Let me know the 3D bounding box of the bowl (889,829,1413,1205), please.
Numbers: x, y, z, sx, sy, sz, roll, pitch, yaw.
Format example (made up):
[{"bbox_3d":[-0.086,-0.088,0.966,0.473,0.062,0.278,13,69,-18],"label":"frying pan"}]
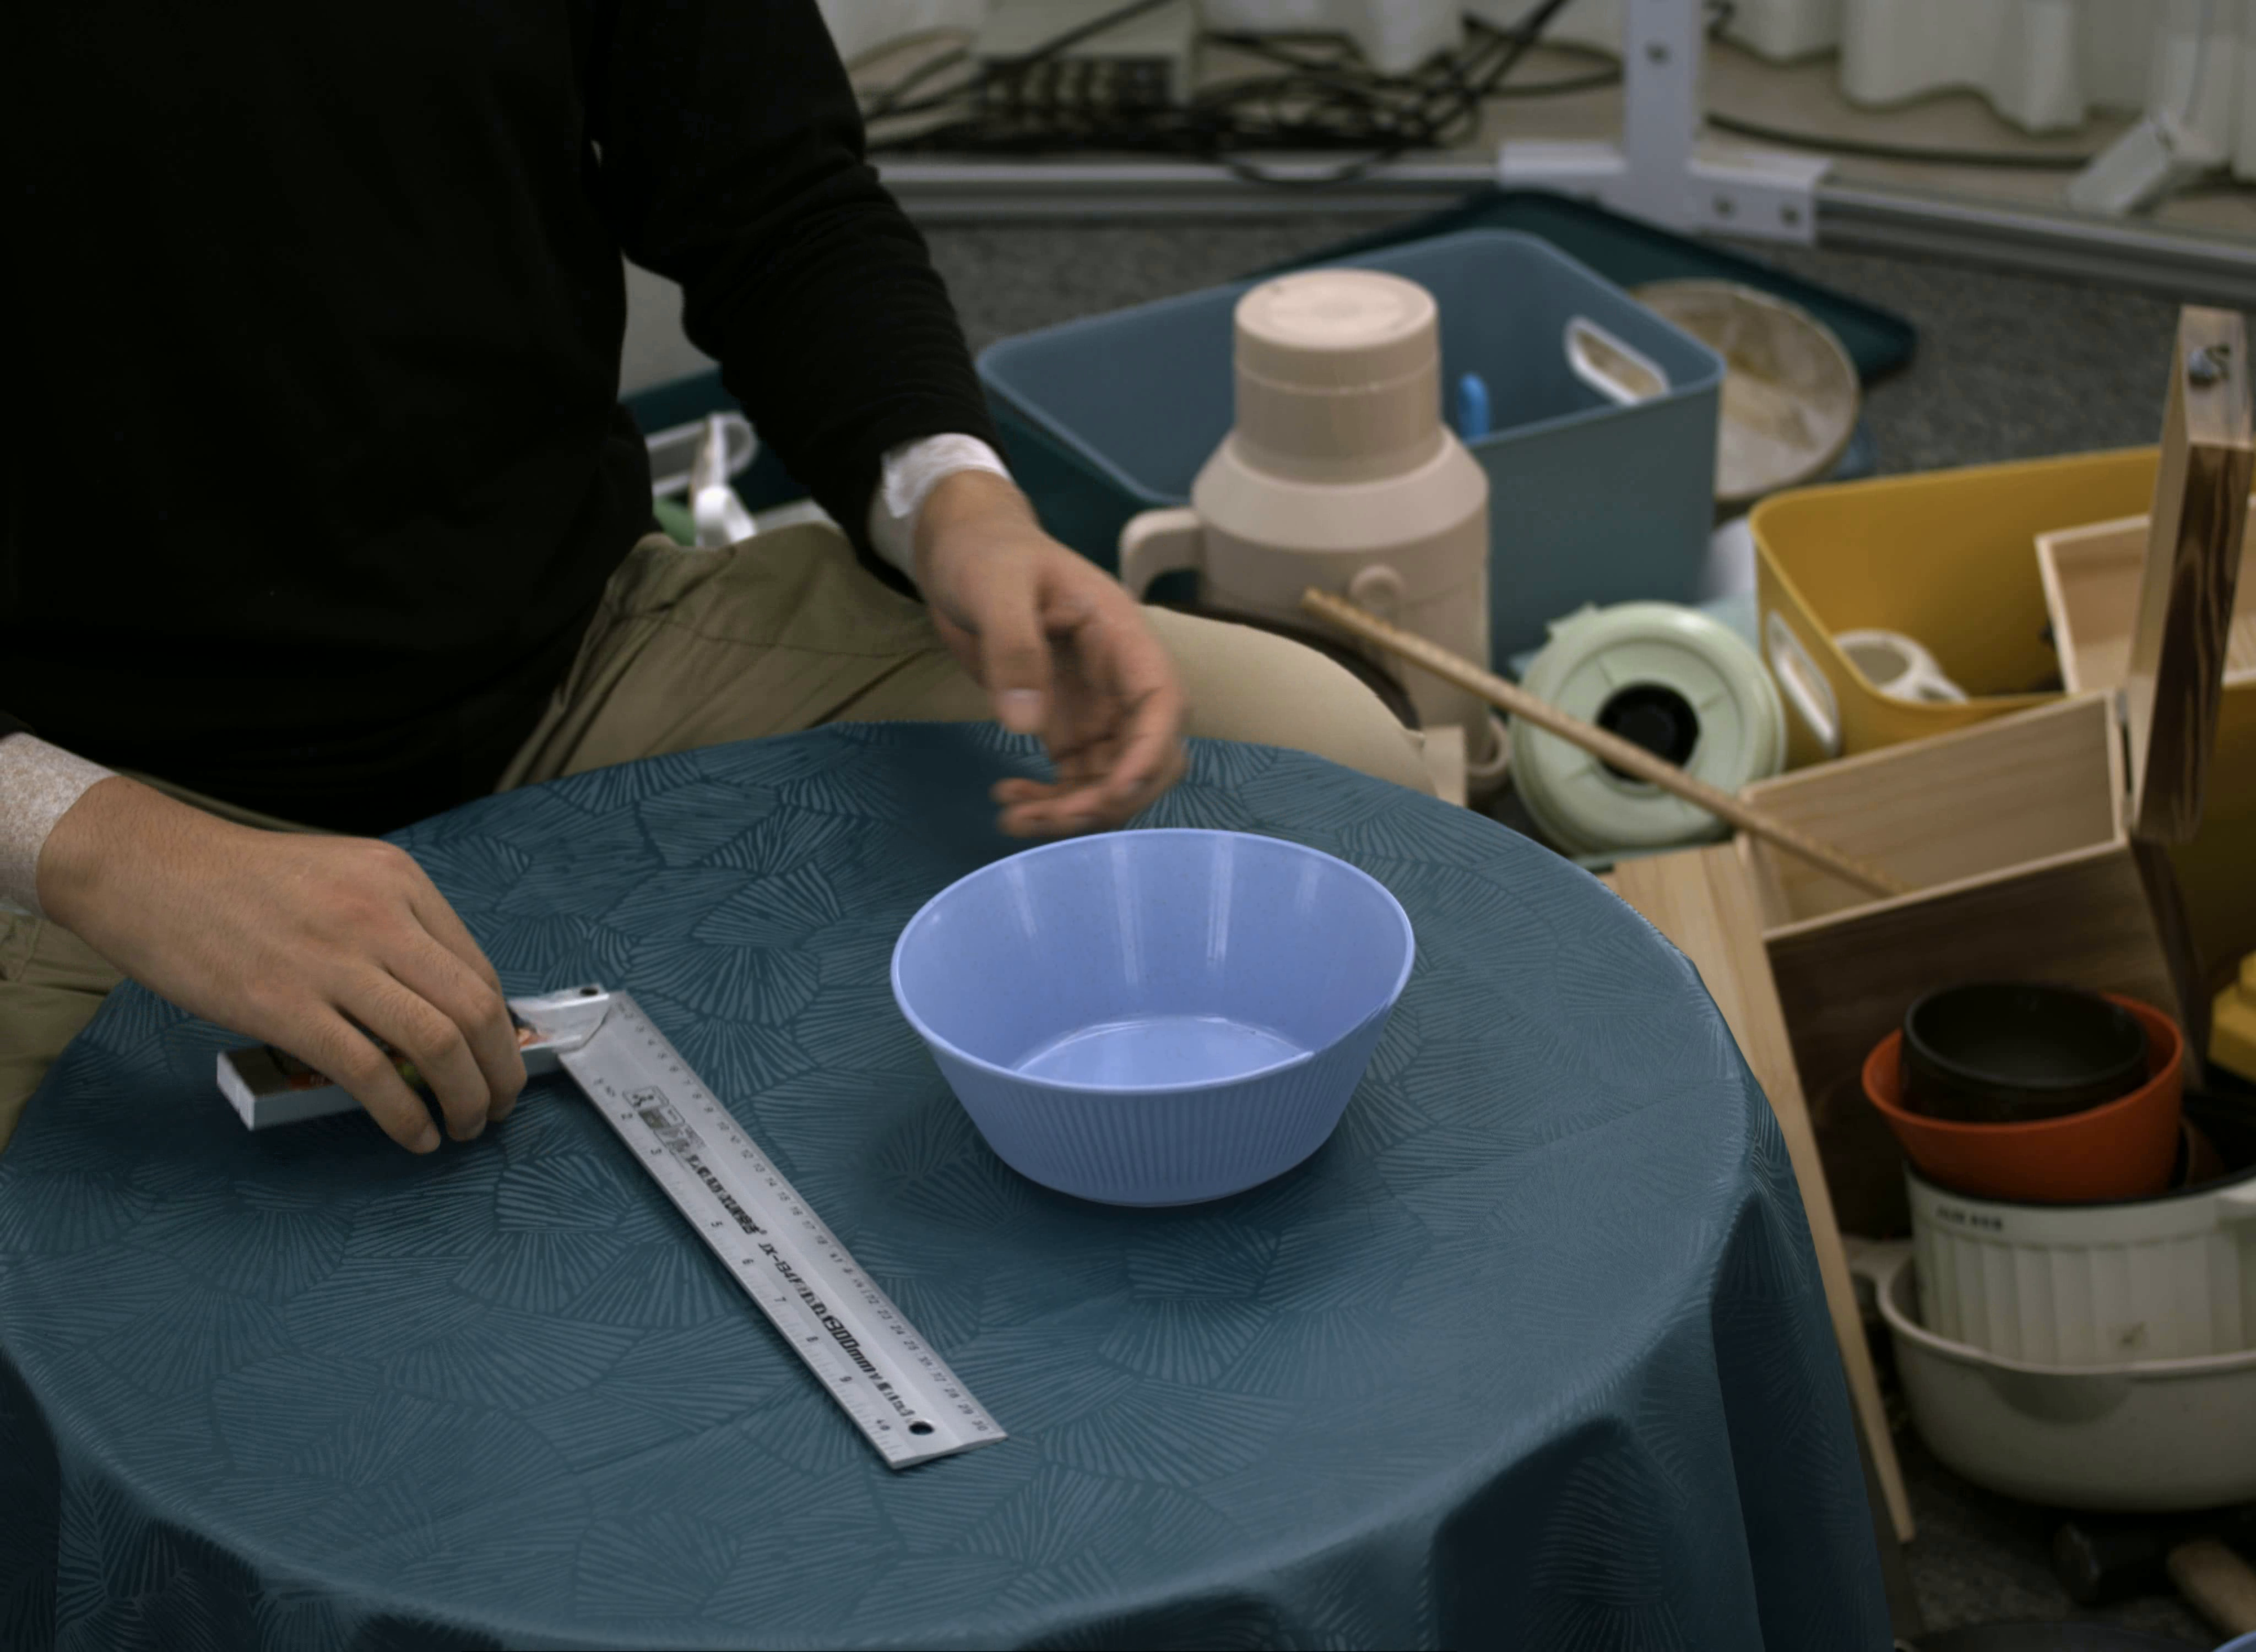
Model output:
[{"bbox_3d":[0.009,0.070,1.885,0.175,0.069,0.179,-2,28,2],"label":"bowl"}]

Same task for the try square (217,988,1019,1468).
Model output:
[{"bbox_3d":[-0.172,0.140,1.825,0.153,0.016,0.315,-13,31,-25],"label":"try square"}]
